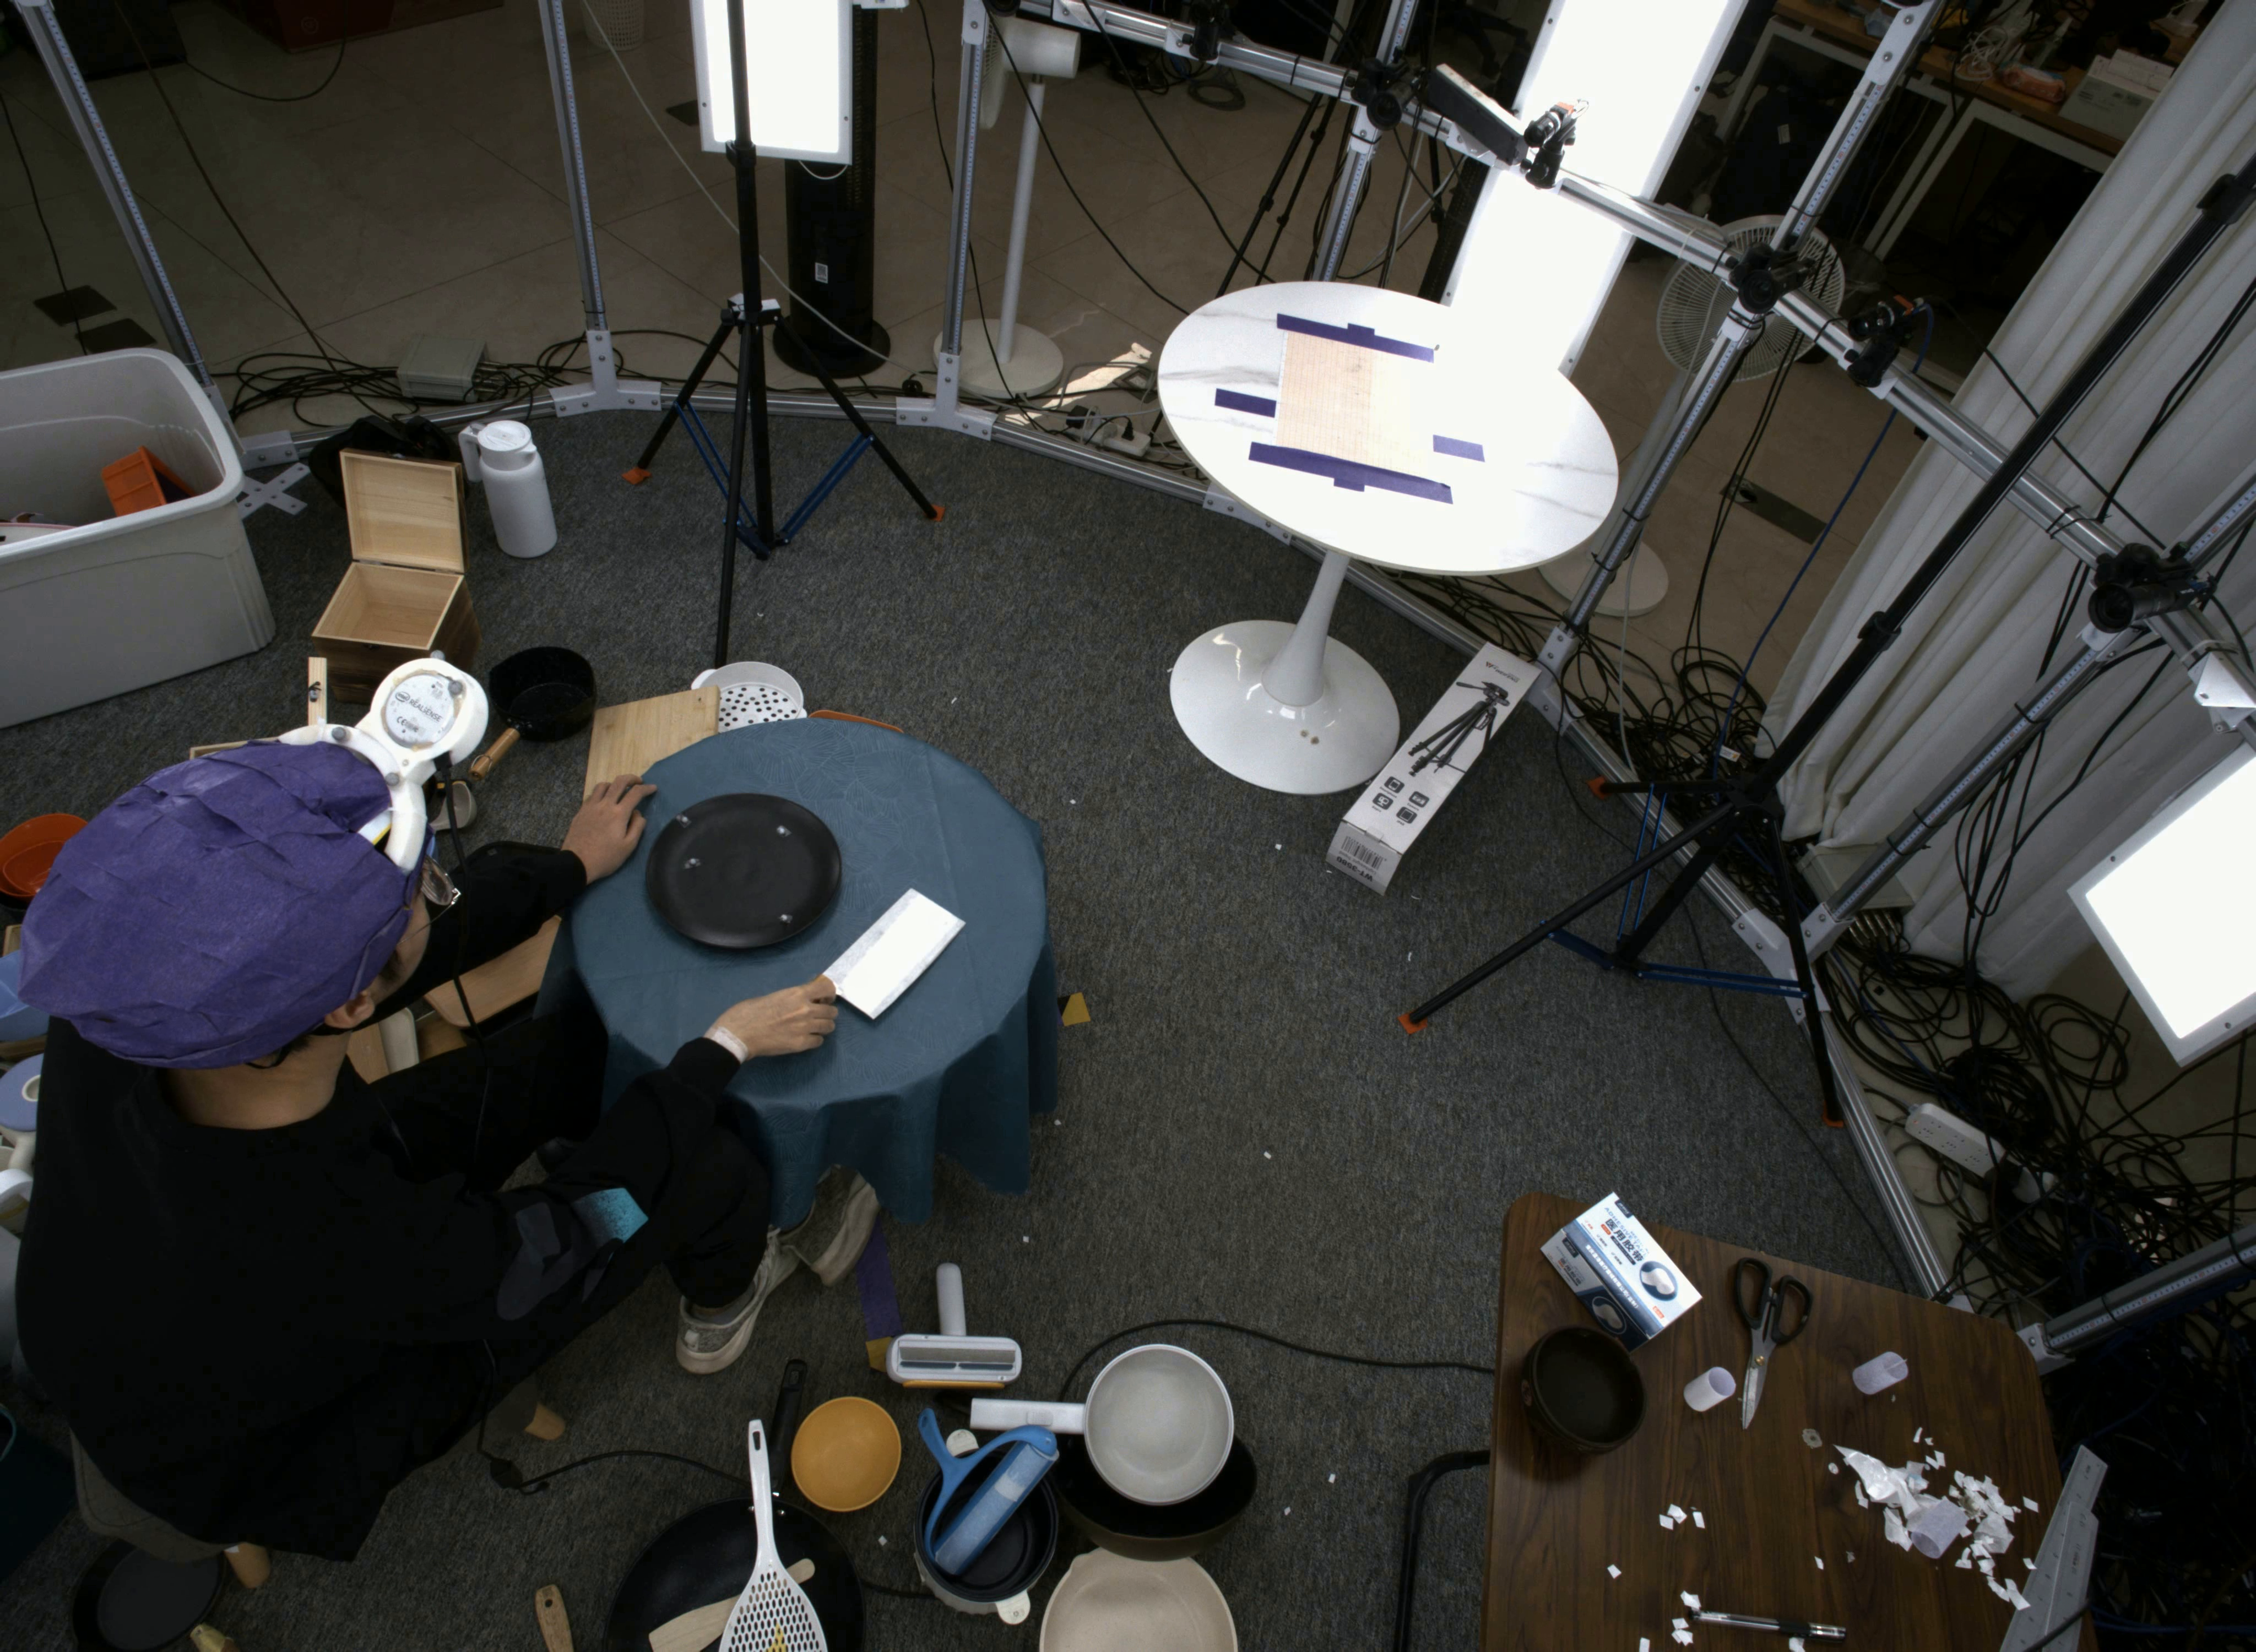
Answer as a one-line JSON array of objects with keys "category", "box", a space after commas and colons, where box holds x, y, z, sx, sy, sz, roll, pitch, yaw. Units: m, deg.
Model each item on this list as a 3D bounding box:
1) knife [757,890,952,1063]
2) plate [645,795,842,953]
[{"category": "knife", "box": [-0.322, 0.187, 1.585, 0.091, 0.021, 0.305, 32, 48, 10]}, {"category": "plate", "box": [-0.485, 0.059, 1.637, 0.244, 0.024, 0.240, 8, 52, -9]}]
